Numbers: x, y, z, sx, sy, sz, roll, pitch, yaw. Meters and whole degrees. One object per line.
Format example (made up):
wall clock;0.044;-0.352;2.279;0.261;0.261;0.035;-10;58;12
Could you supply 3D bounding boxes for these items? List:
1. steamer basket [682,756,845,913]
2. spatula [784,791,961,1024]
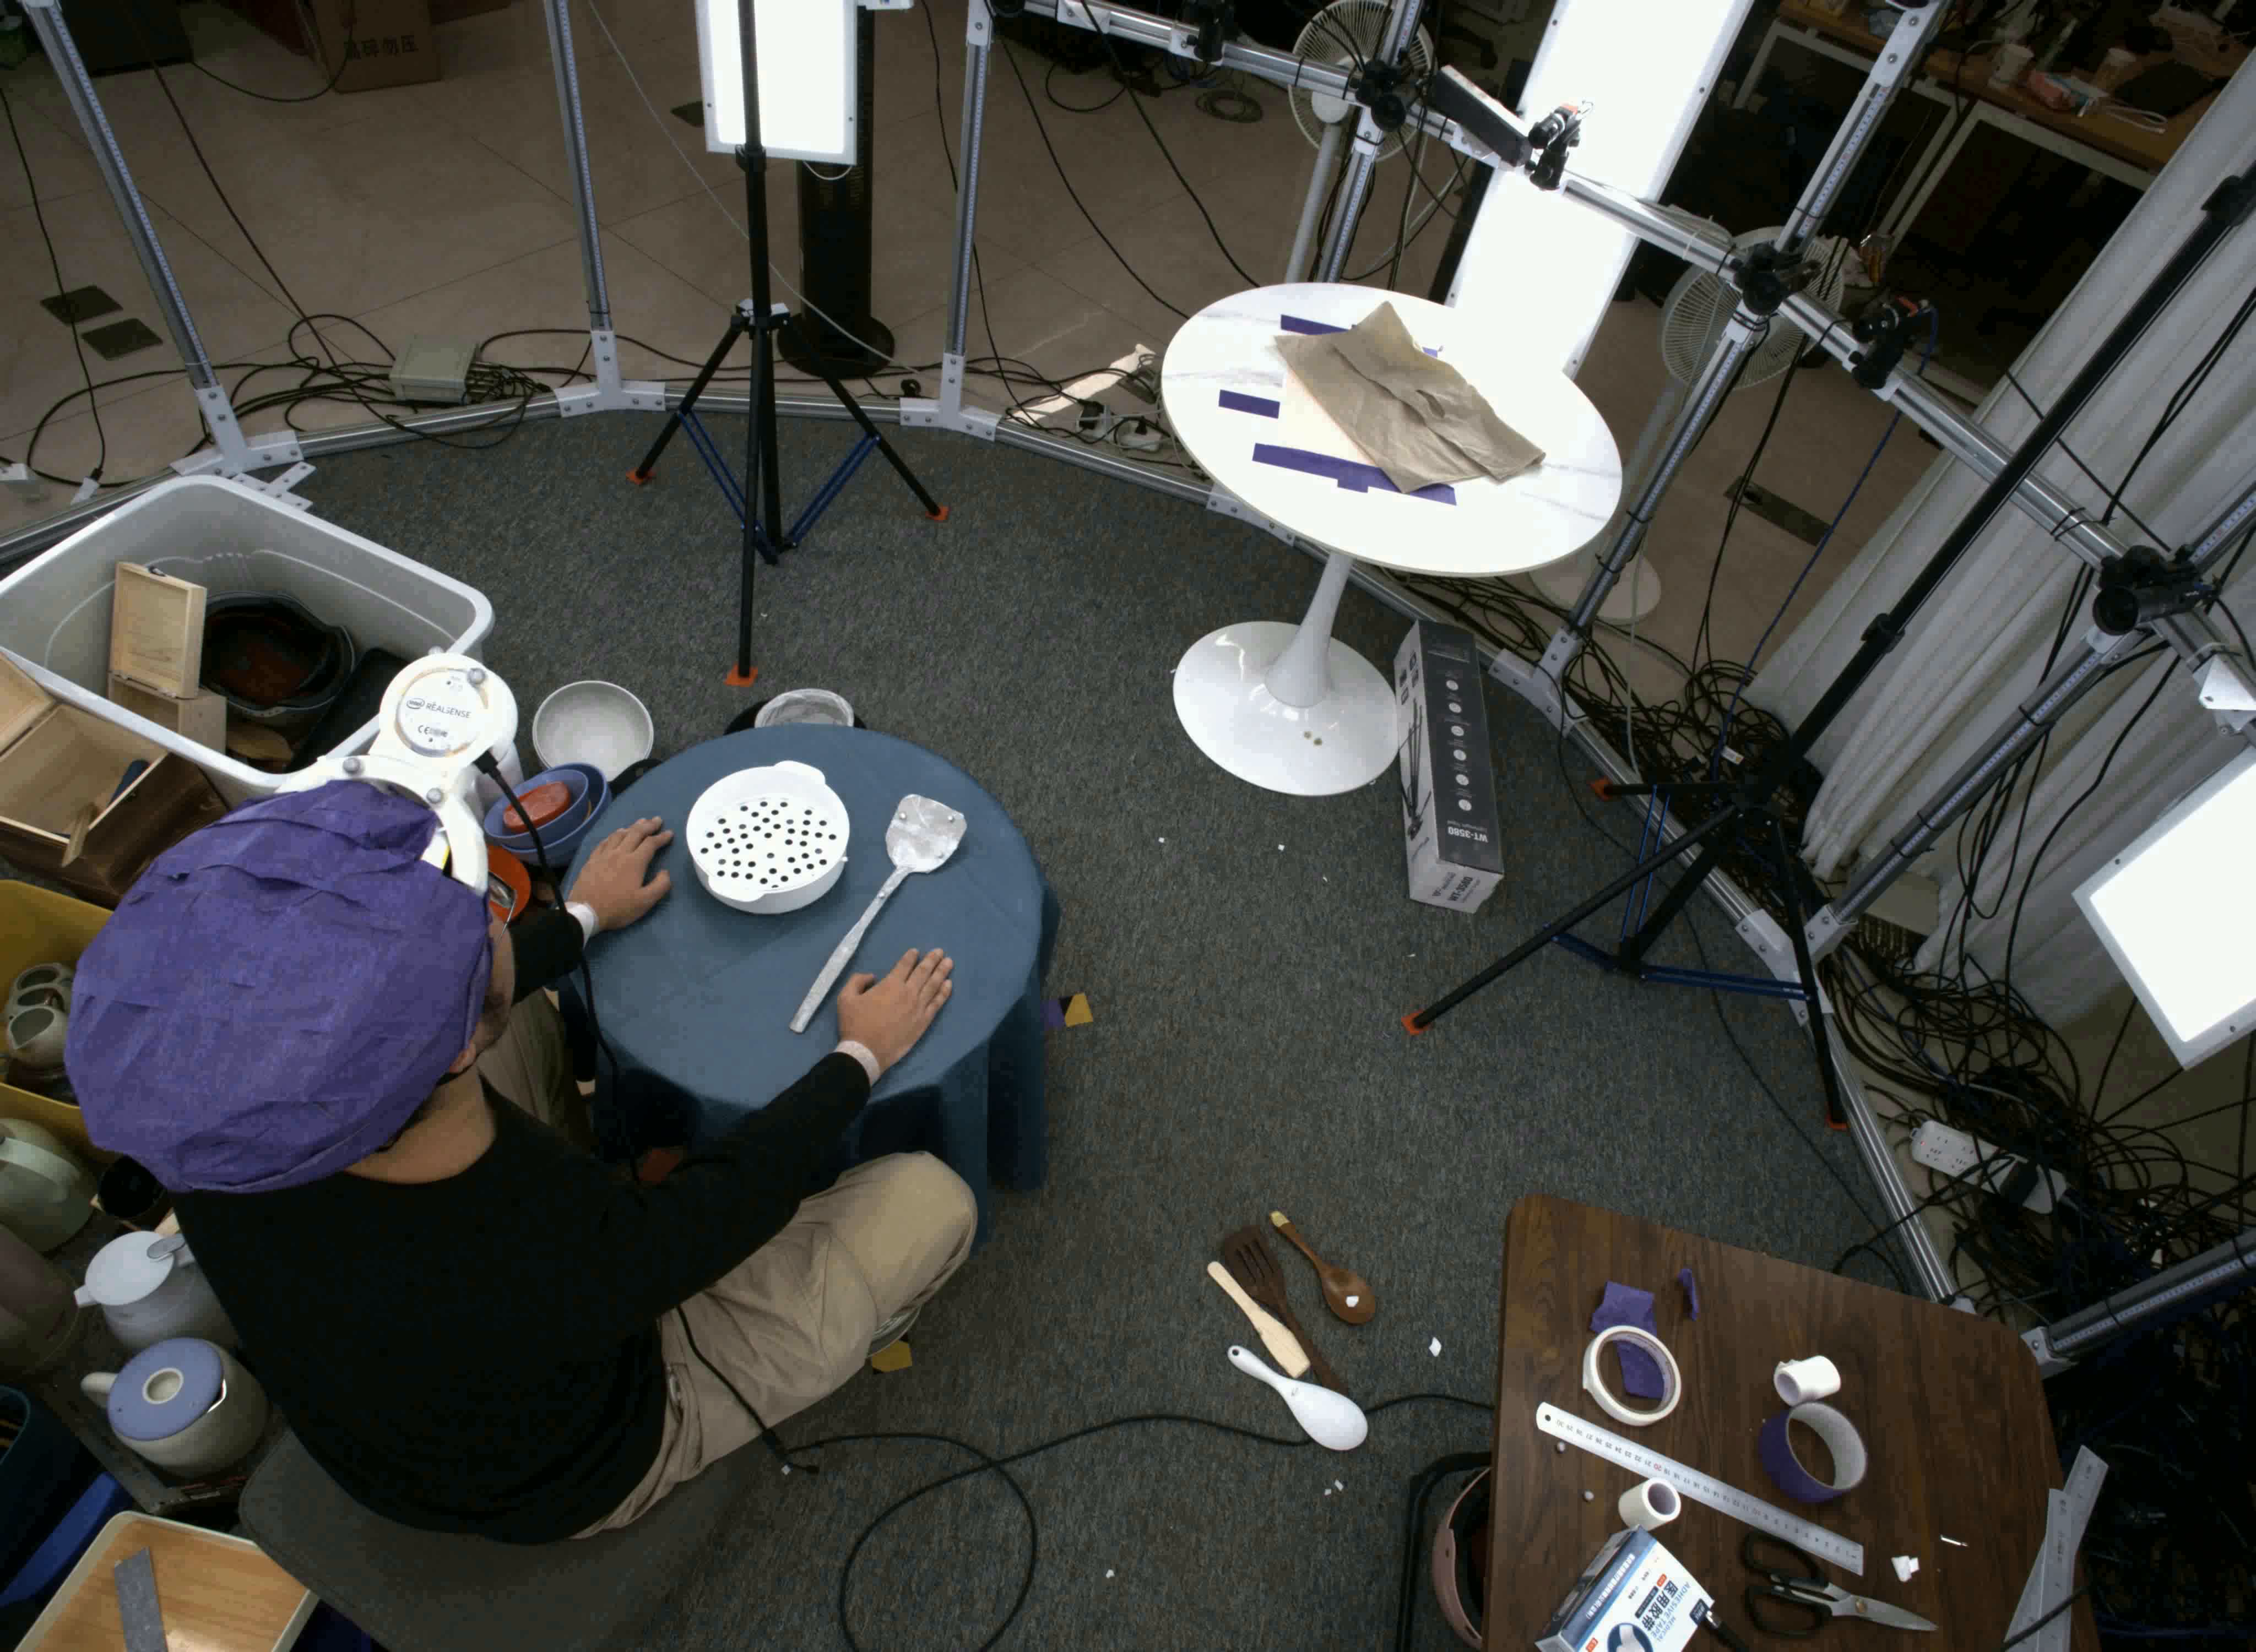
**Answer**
steamer basket;-0.462;0.015;1.653;0.200;0.070;0.228;18;52;0
spatula;-0.330;0.100;1.644;0.097;0.045;0.362;26;52;3
